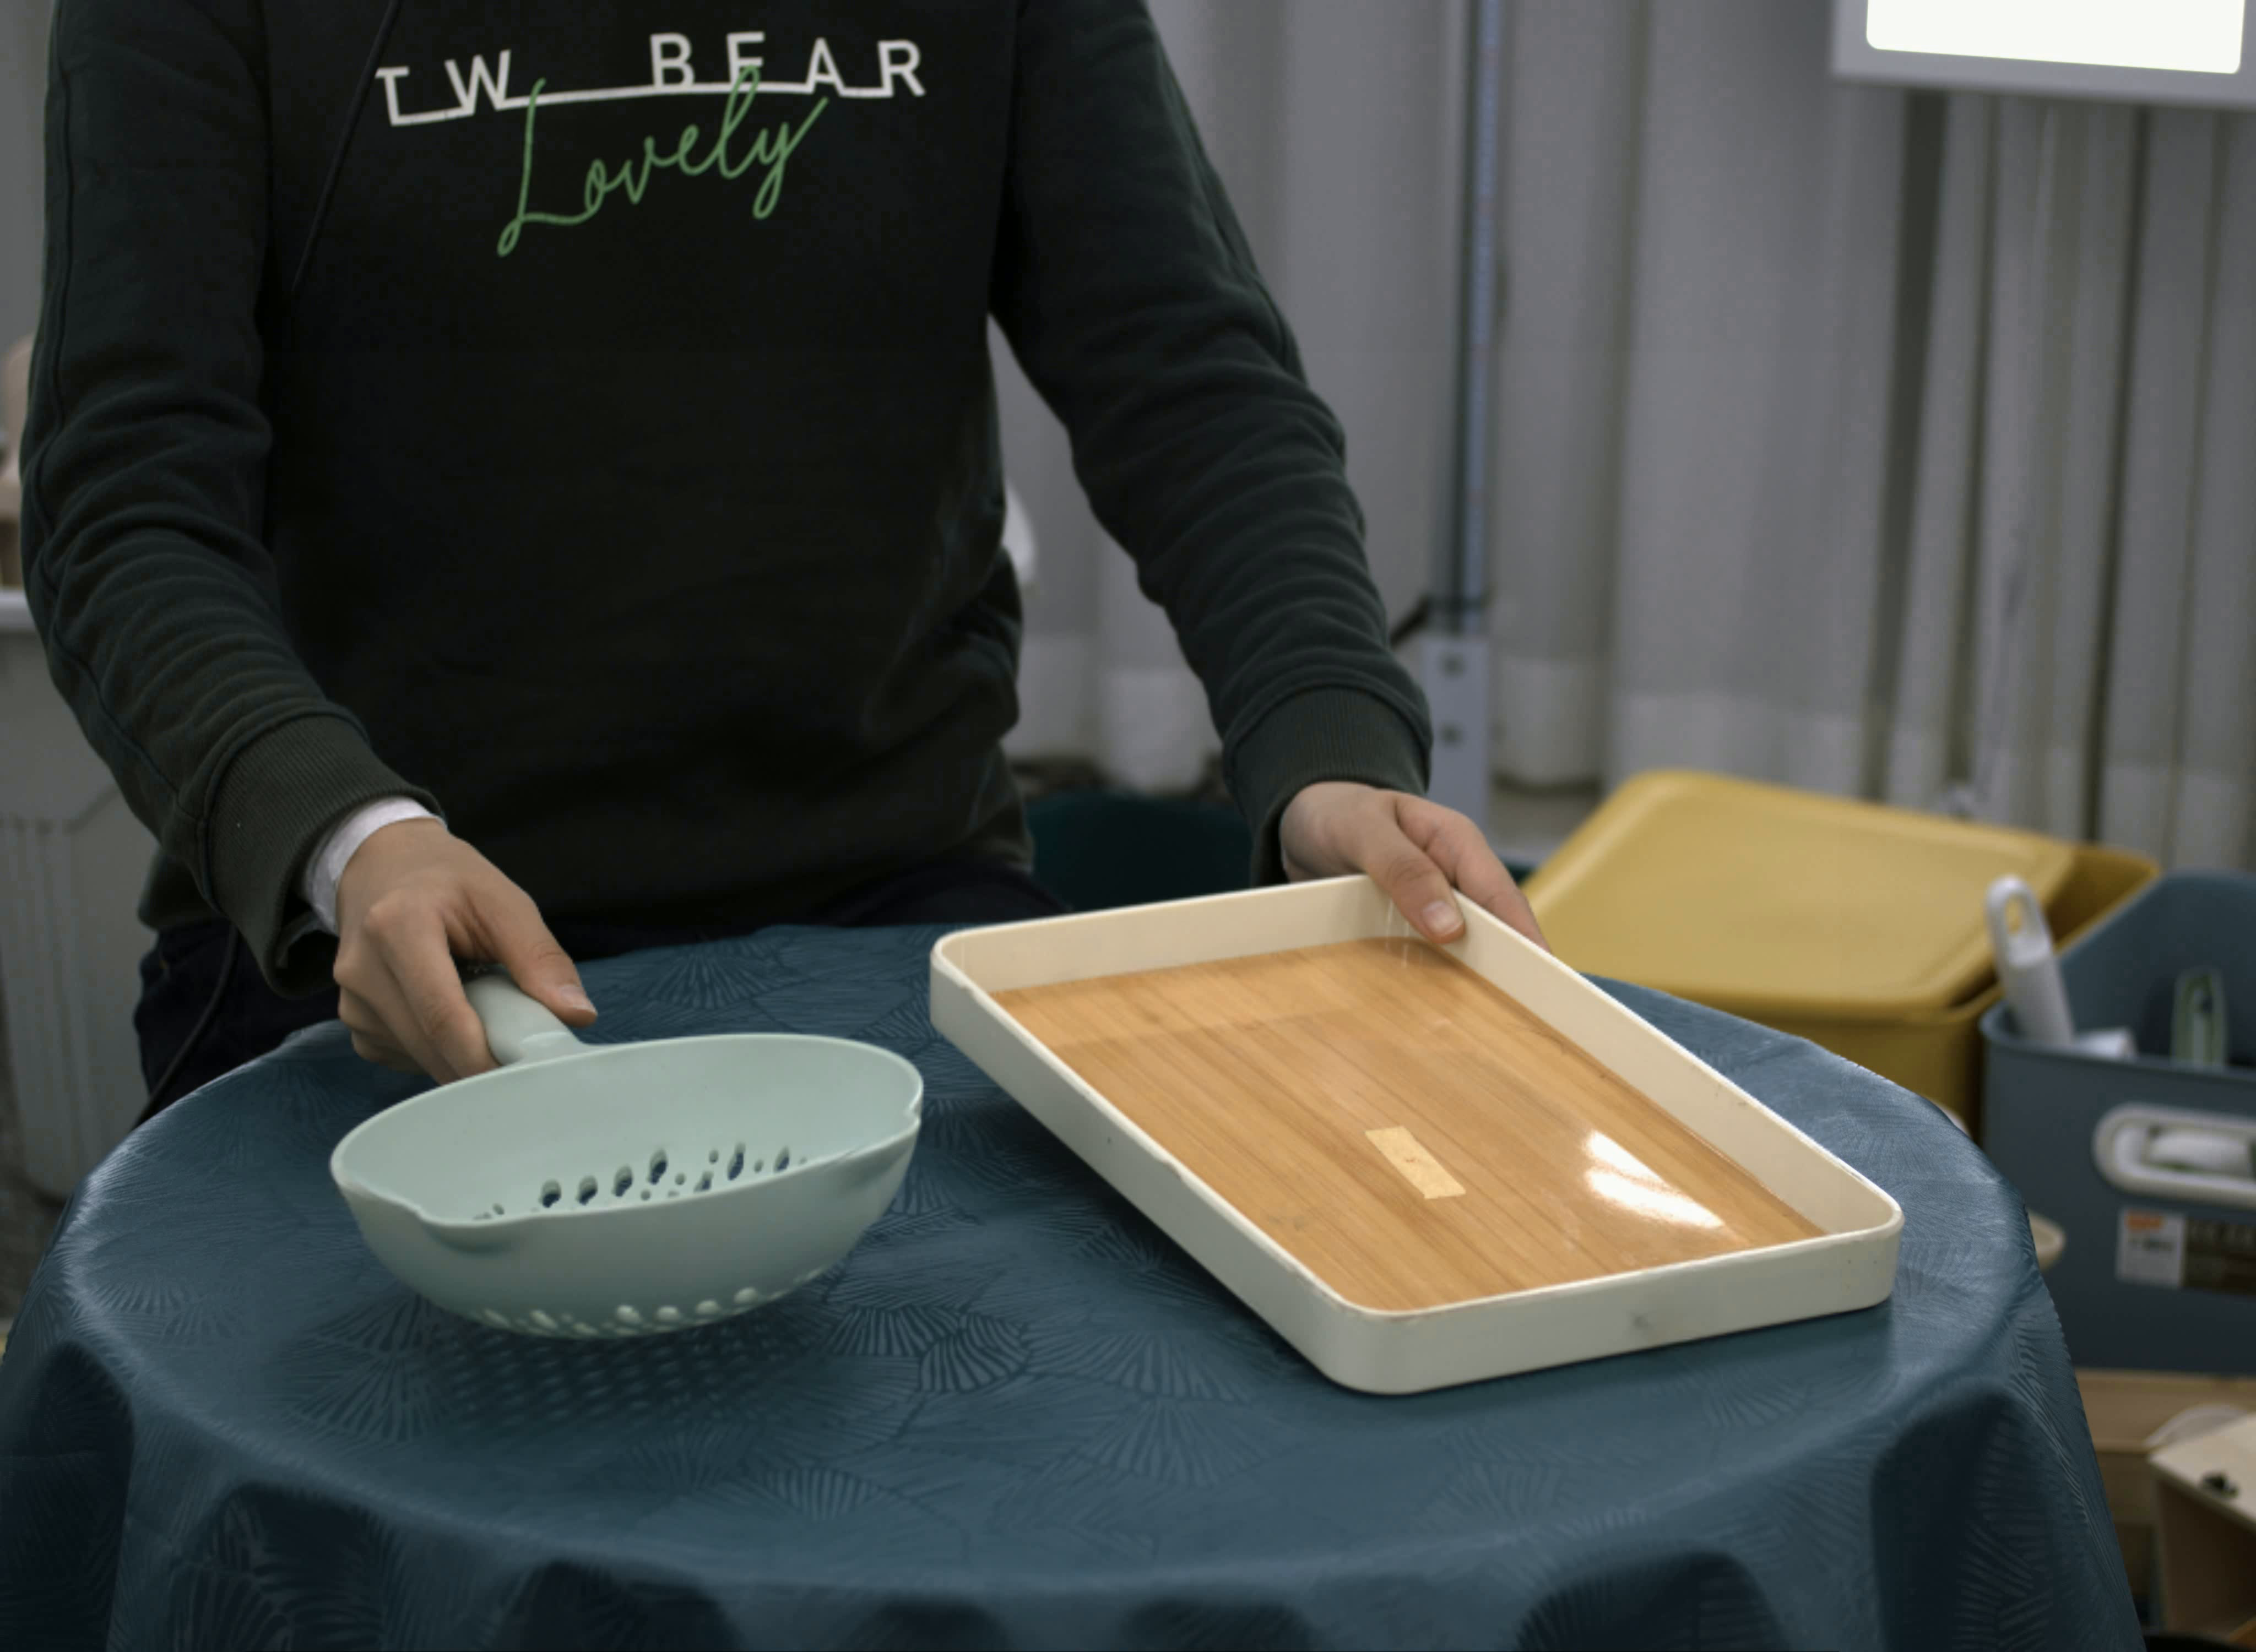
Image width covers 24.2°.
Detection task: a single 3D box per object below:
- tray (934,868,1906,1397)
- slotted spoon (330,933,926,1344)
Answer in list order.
[{"bbox_3d":[0.082,0.087,1.613,0.192,0.027,0.296,-7,24,-26],"label":"tray"},{"bbox_3d":[-0.170,0.076,1.577,0.169,0.076,0.354,-10,22,-17],"label":"slotted spoon"}]
